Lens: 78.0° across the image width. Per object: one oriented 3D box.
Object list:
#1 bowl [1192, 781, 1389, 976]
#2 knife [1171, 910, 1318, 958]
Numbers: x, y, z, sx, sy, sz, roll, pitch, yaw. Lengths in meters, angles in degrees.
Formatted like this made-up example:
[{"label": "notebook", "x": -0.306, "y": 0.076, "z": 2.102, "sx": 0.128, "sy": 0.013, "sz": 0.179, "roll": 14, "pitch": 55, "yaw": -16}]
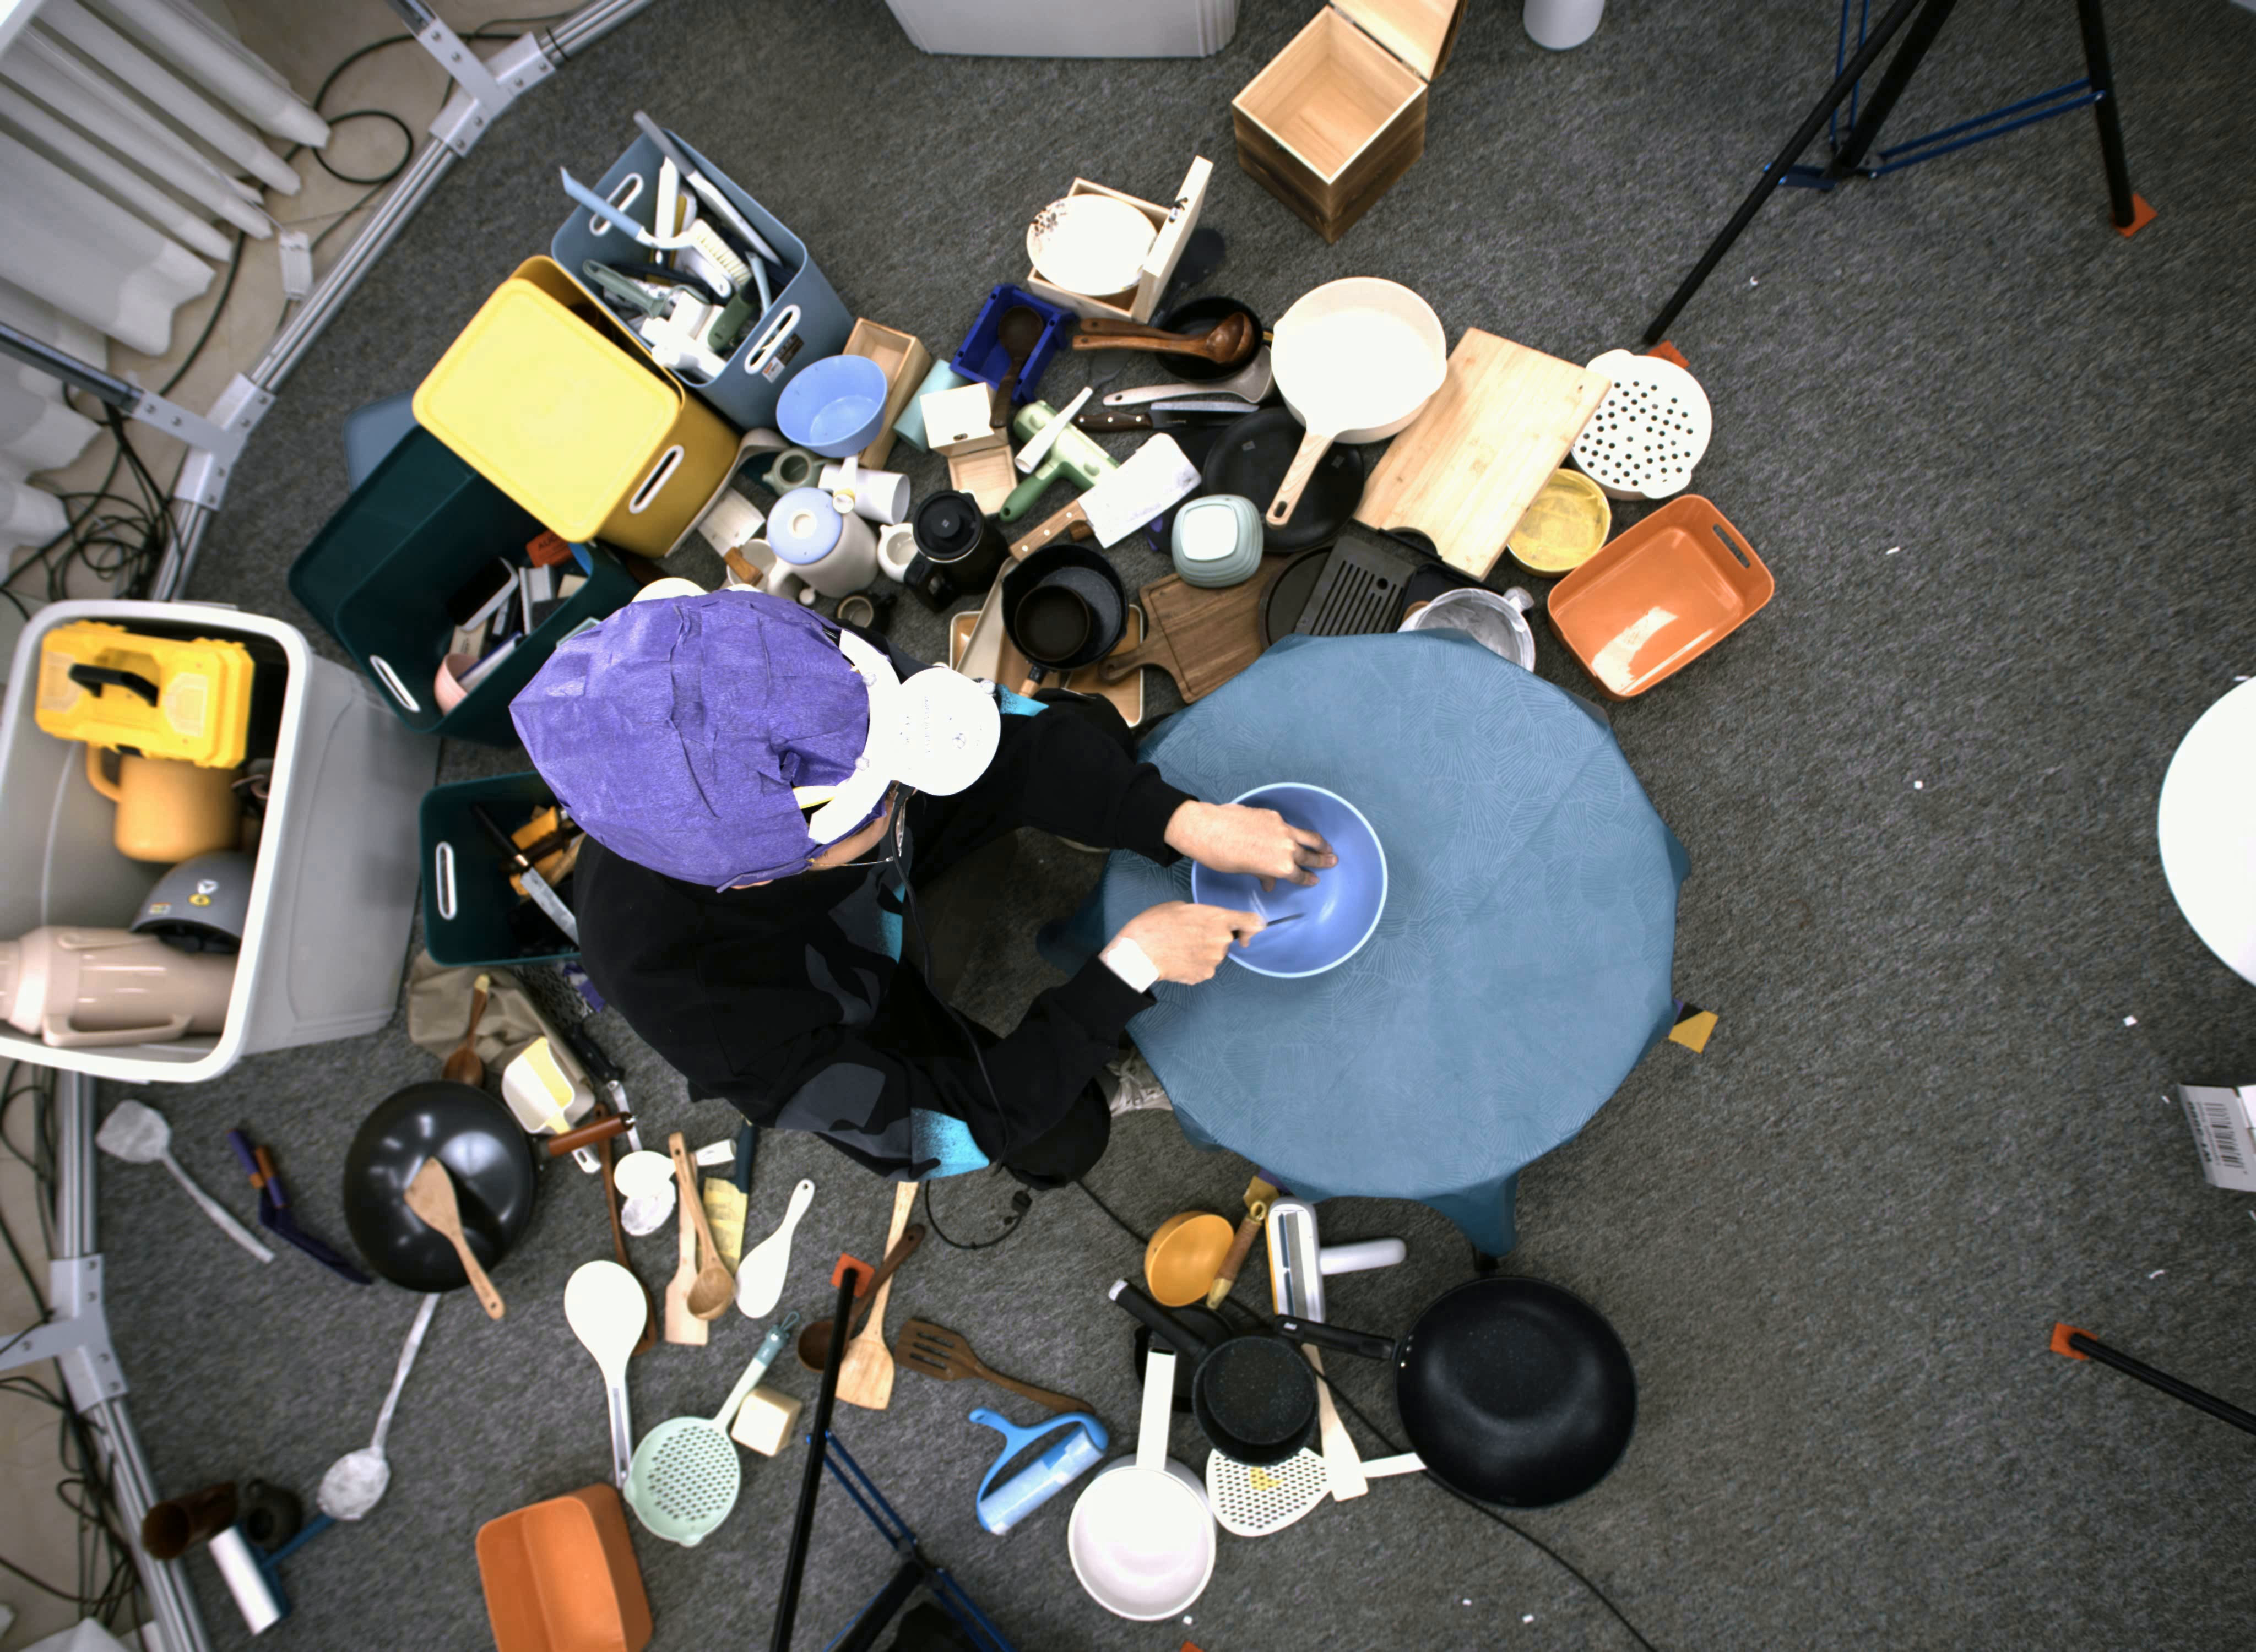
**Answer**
[{"label": "bowl", "x": 0.167, "y": 0.056, "z": 1.429, "sx": 0.197, "sy": 0.095, "sz": 0.195, "roll": -1, "pitch": 85, "yaw": 7}, {"label": "knife", "x": 0.123, "y": 0.103, "z": 1.390, "sx": 0.027, "sy": 0.223, "sz": 0.017, "roll": -42, "pitch": 67, "yaw": 43}]
